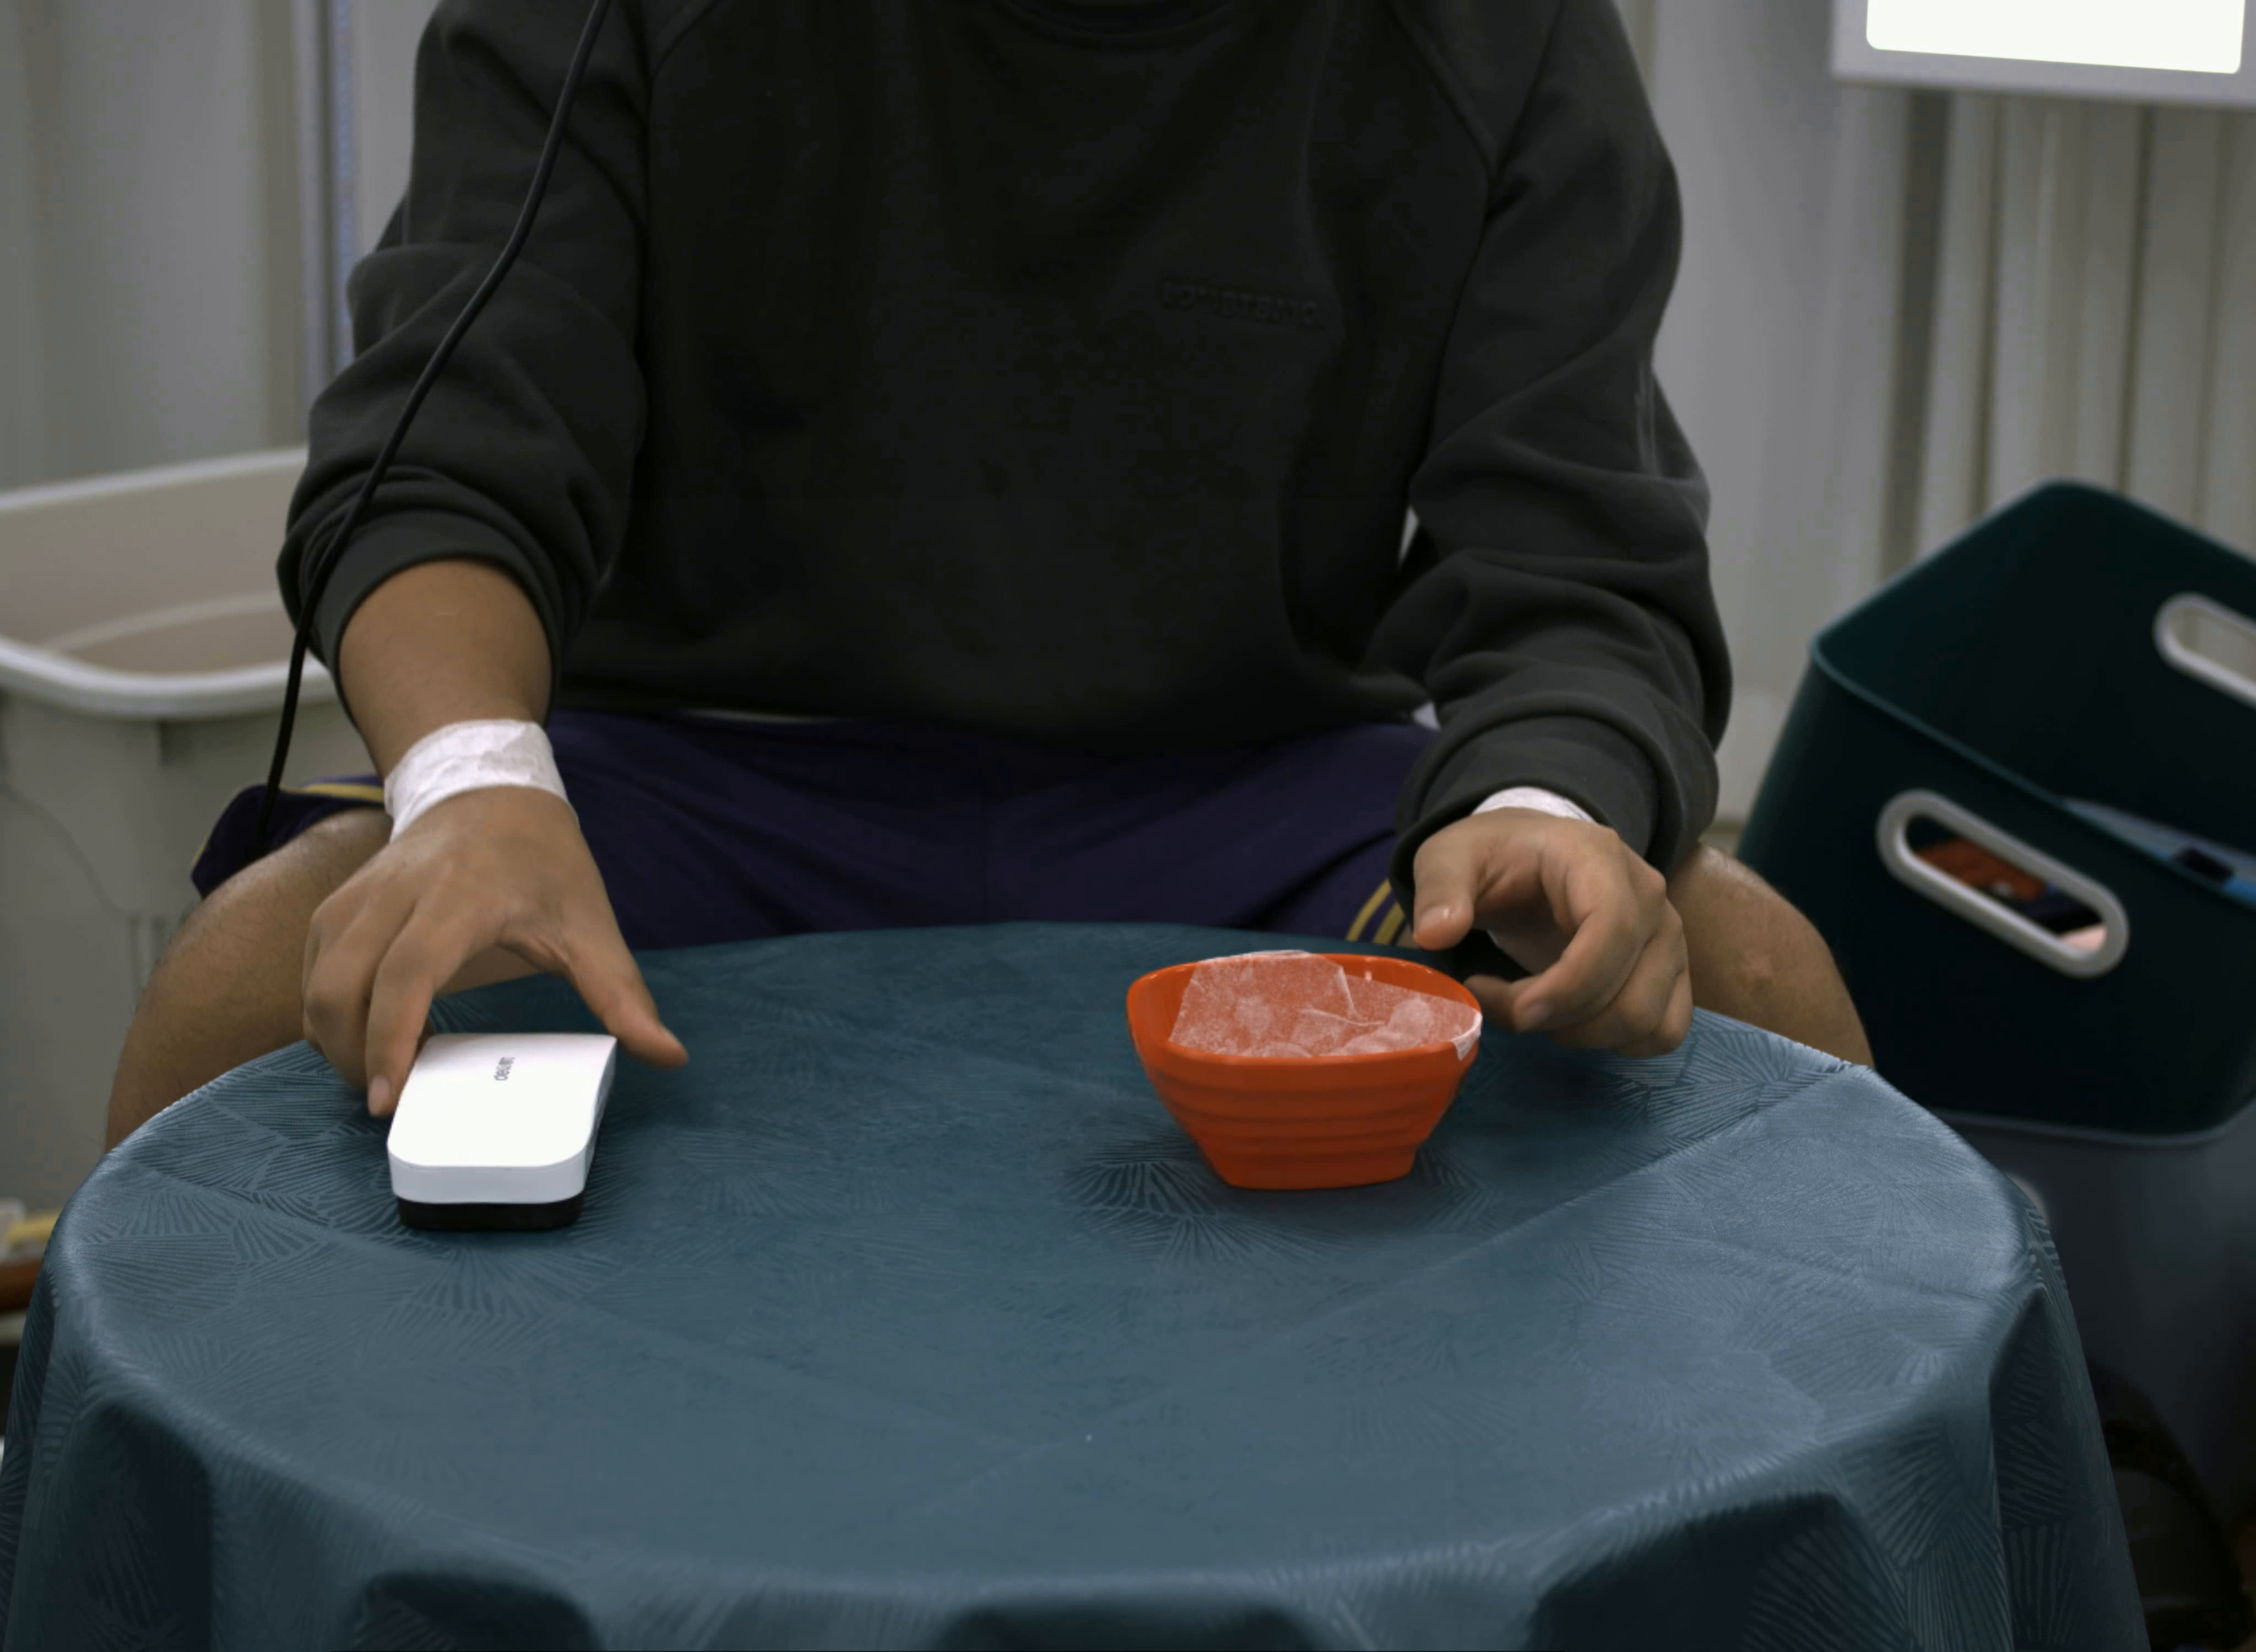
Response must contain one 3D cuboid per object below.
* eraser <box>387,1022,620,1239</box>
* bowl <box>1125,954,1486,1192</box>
[{"bbox_3d":[-0.192,0.090,1.635,0.063,0.035,0.130,2,17,0],"label":"eraser"},{"bbox_3d":[0.055,0.079,1.649,0.118,0.052,0.118,0,15,1],"label":"bowl"}]
